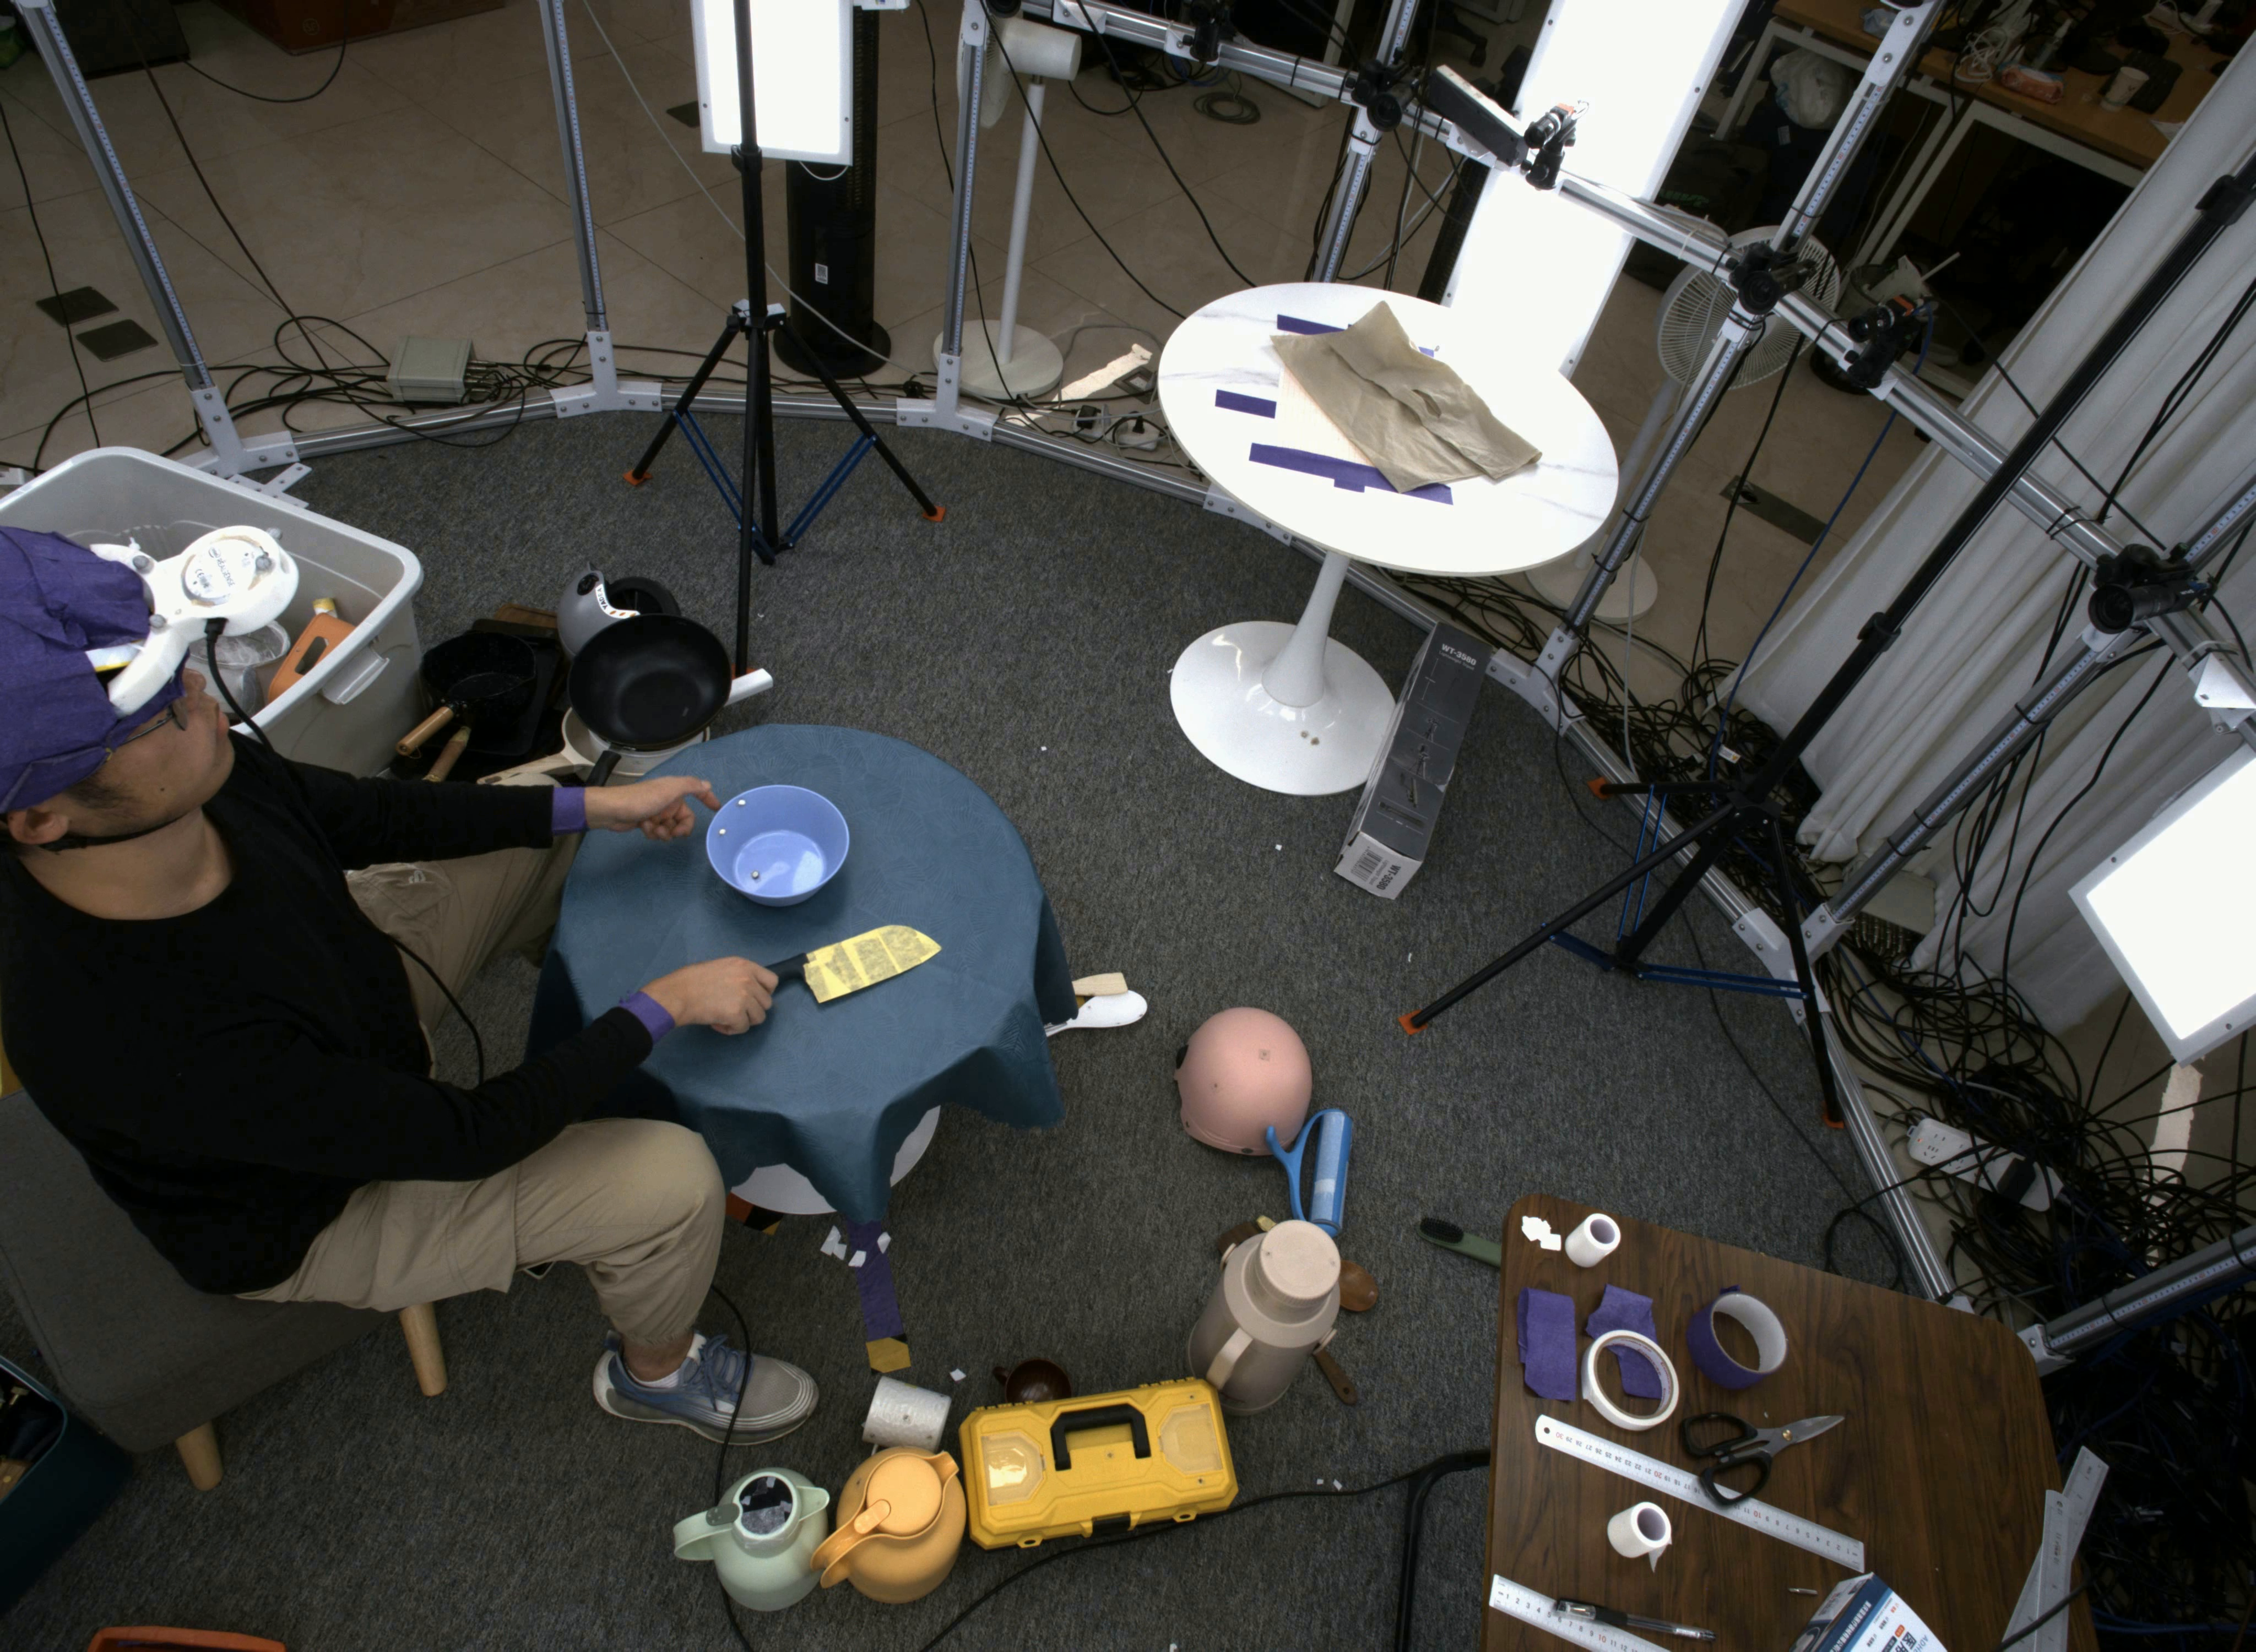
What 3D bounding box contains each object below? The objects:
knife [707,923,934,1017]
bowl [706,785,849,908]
[{"bbox_3d":[-0.371,0.180,1.592,0.291,0.028,0.079,-18,57,-27],"label":"knife"},{"bbox_3d":[-0.443,0.036,1.645,0.176,0.071,0.173,8,53,-9],"label":"bowl"}]
